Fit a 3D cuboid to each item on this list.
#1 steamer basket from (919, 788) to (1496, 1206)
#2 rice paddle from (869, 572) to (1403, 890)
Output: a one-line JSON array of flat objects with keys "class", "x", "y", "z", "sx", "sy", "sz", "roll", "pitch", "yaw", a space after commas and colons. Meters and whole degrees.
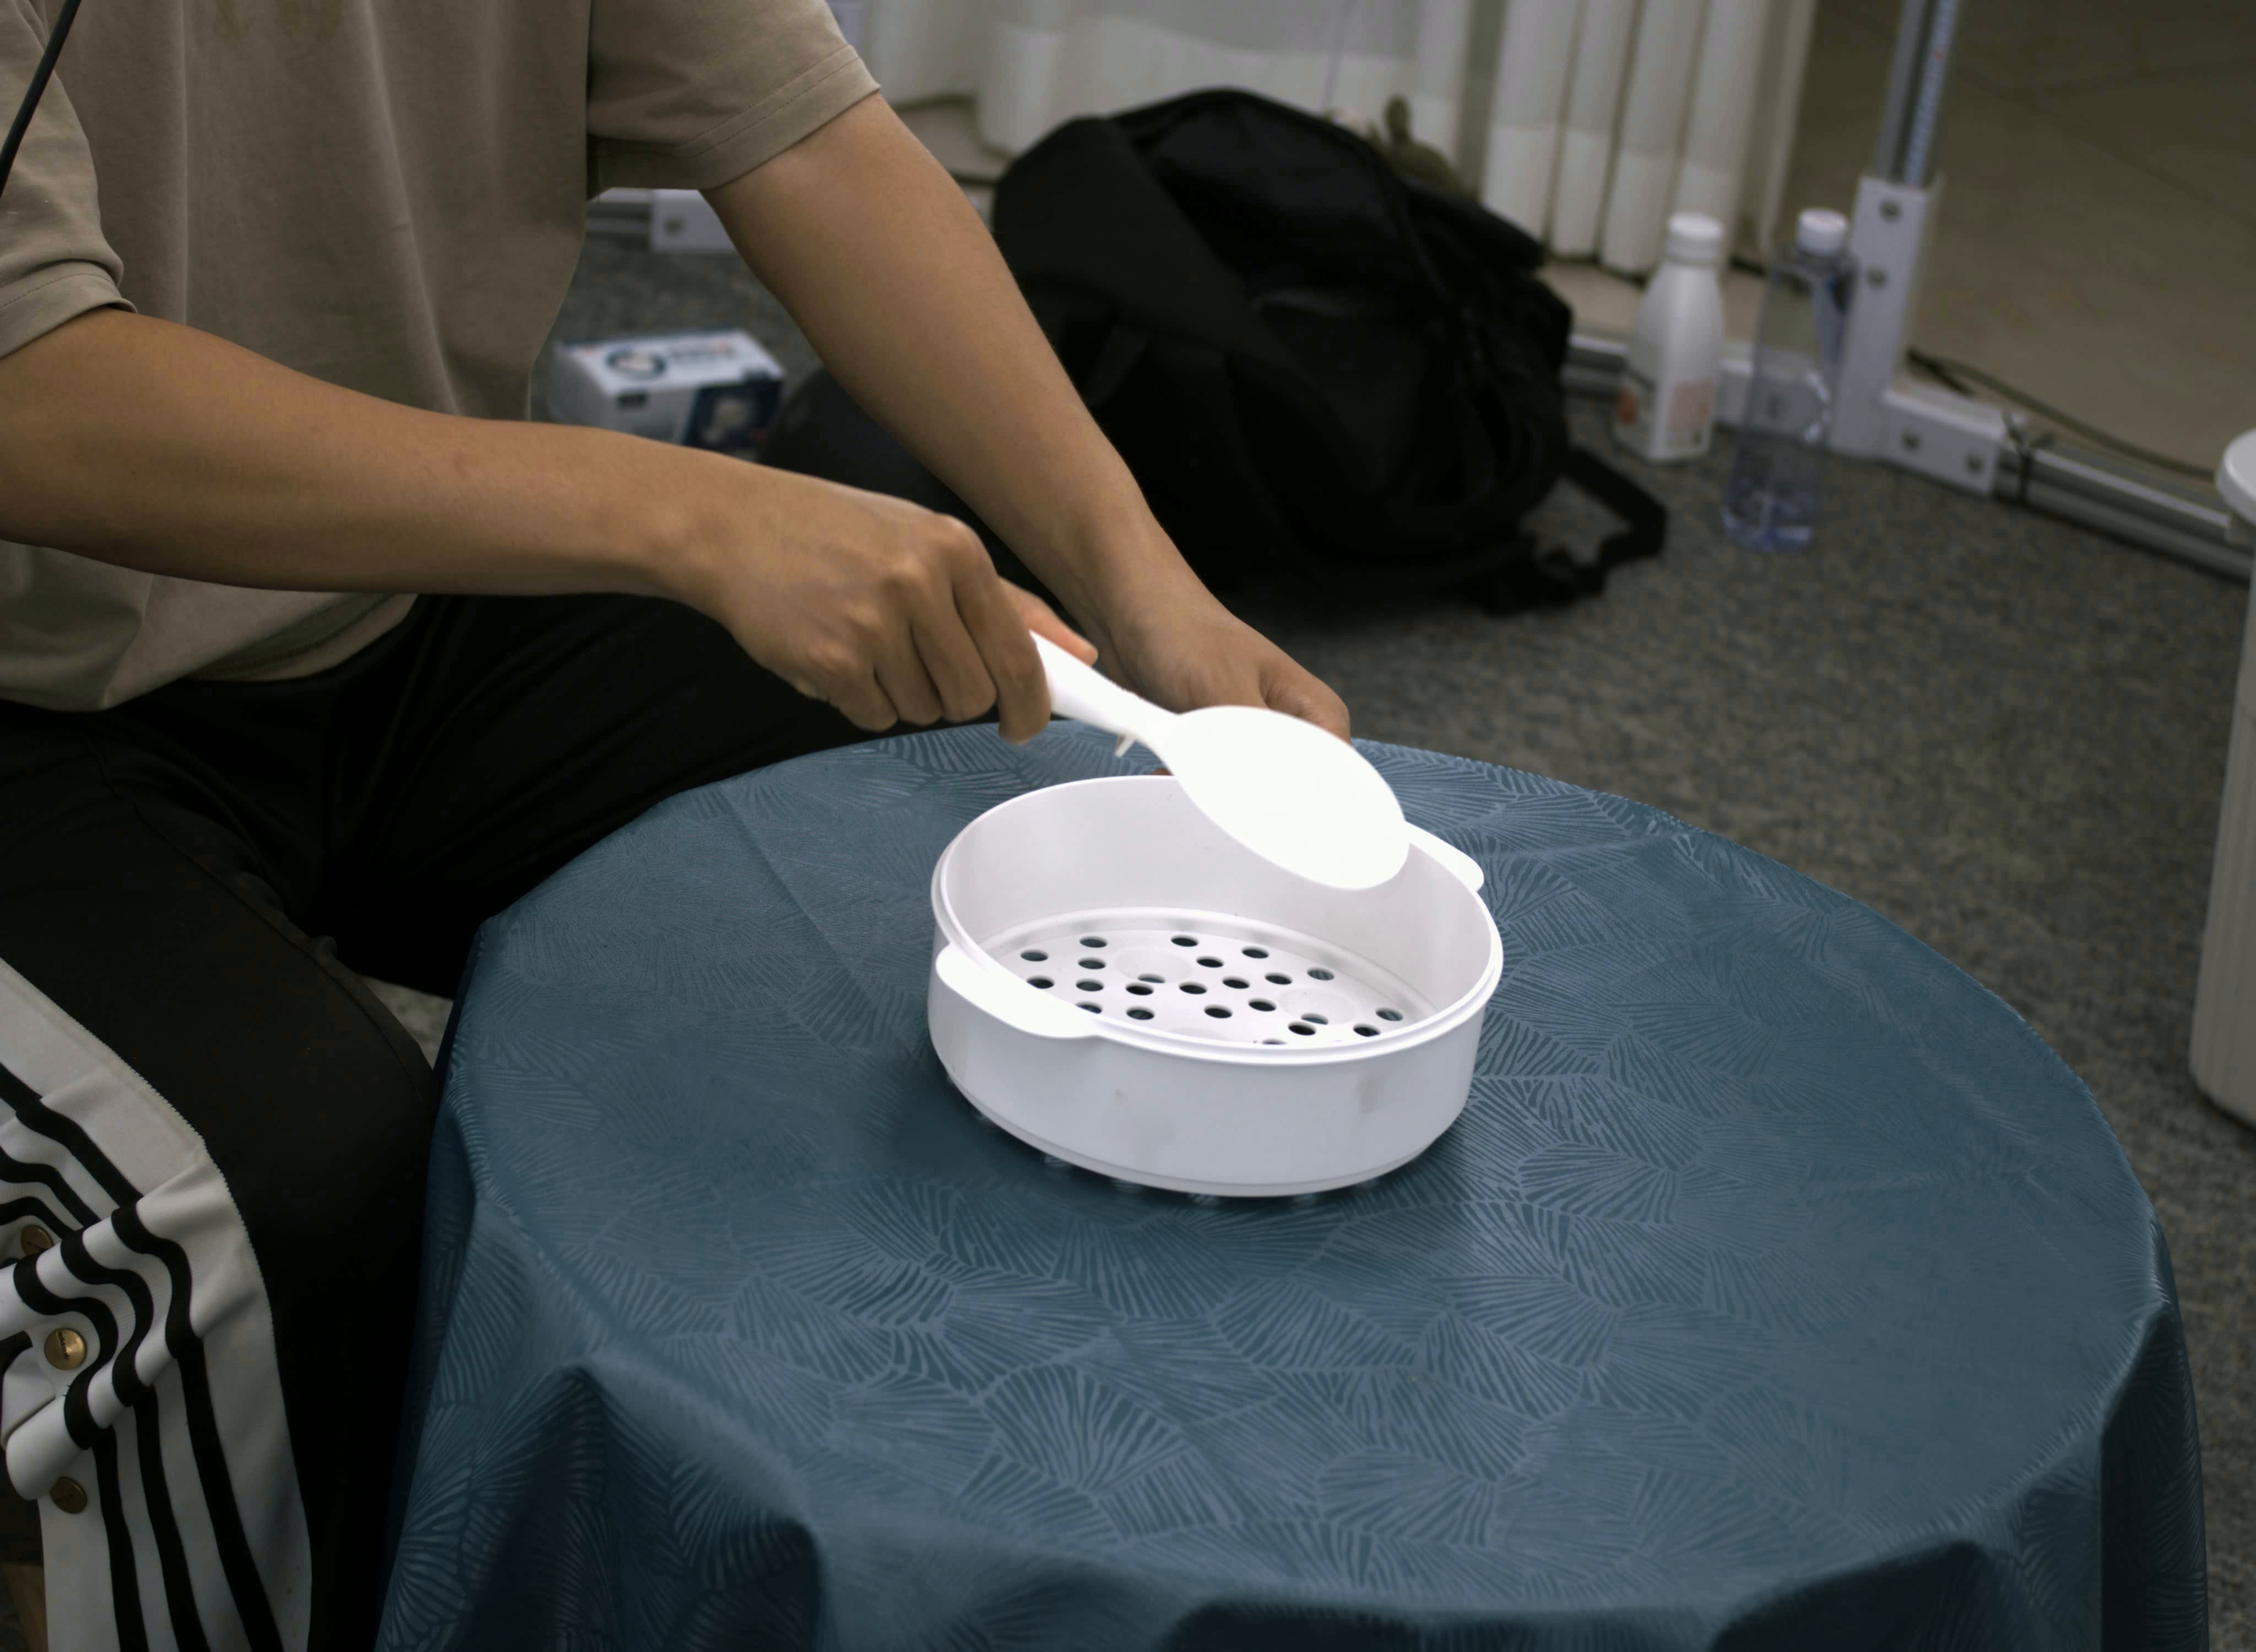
[{"class": "steamer basket", "x": 0.025, "y": 0.060, "z": 1.864, "sx": 0.229, "sy": 0.069, "sz": 0.203, "roll": -16, "pitch": 35, "yaw": -42}, {"class": "rice paddle", "x": 0.008, "y": -0.033, "z": 1.847, "sx": 0.204, "sy": 0.029, "sz": 0.069, "roll": 25, "pitch": 48, "yaw": -13}]
